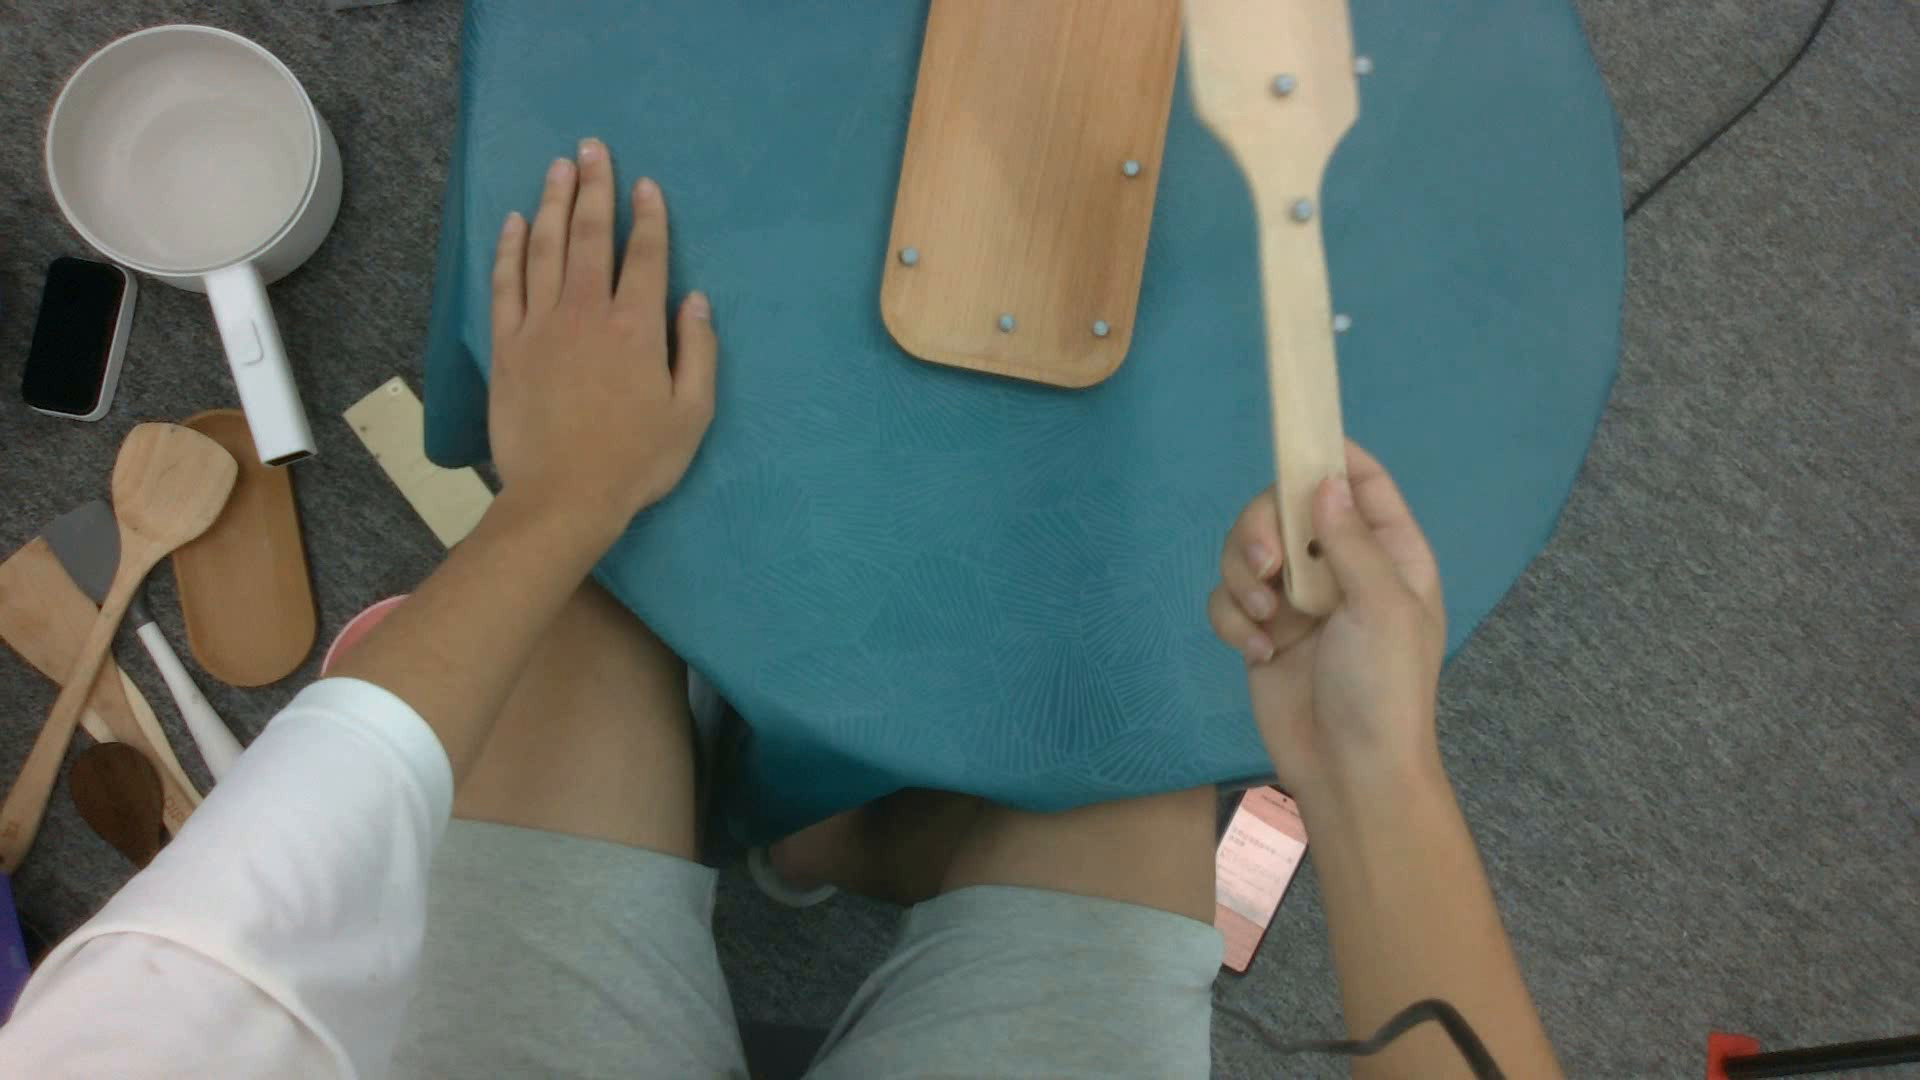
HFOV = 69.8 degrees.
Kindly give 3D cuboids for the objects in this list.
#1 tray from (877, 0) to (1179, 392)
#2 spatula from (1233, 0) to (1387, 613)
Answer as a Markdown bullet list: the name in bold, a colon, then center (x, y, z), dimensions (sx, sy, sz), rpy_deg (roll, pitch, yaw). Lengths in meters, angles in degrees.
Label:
- **tray**: center (0.036, -0.204, 0.705), dimensions (0.130, 0.023, 0.251), rpy_deg (10, 84, -9)
- **spatula**: center (0.150, -0.113, 0.579), dimensions (0.072, 0.010, 0.293), rpy_deg (5, 76, -11)
